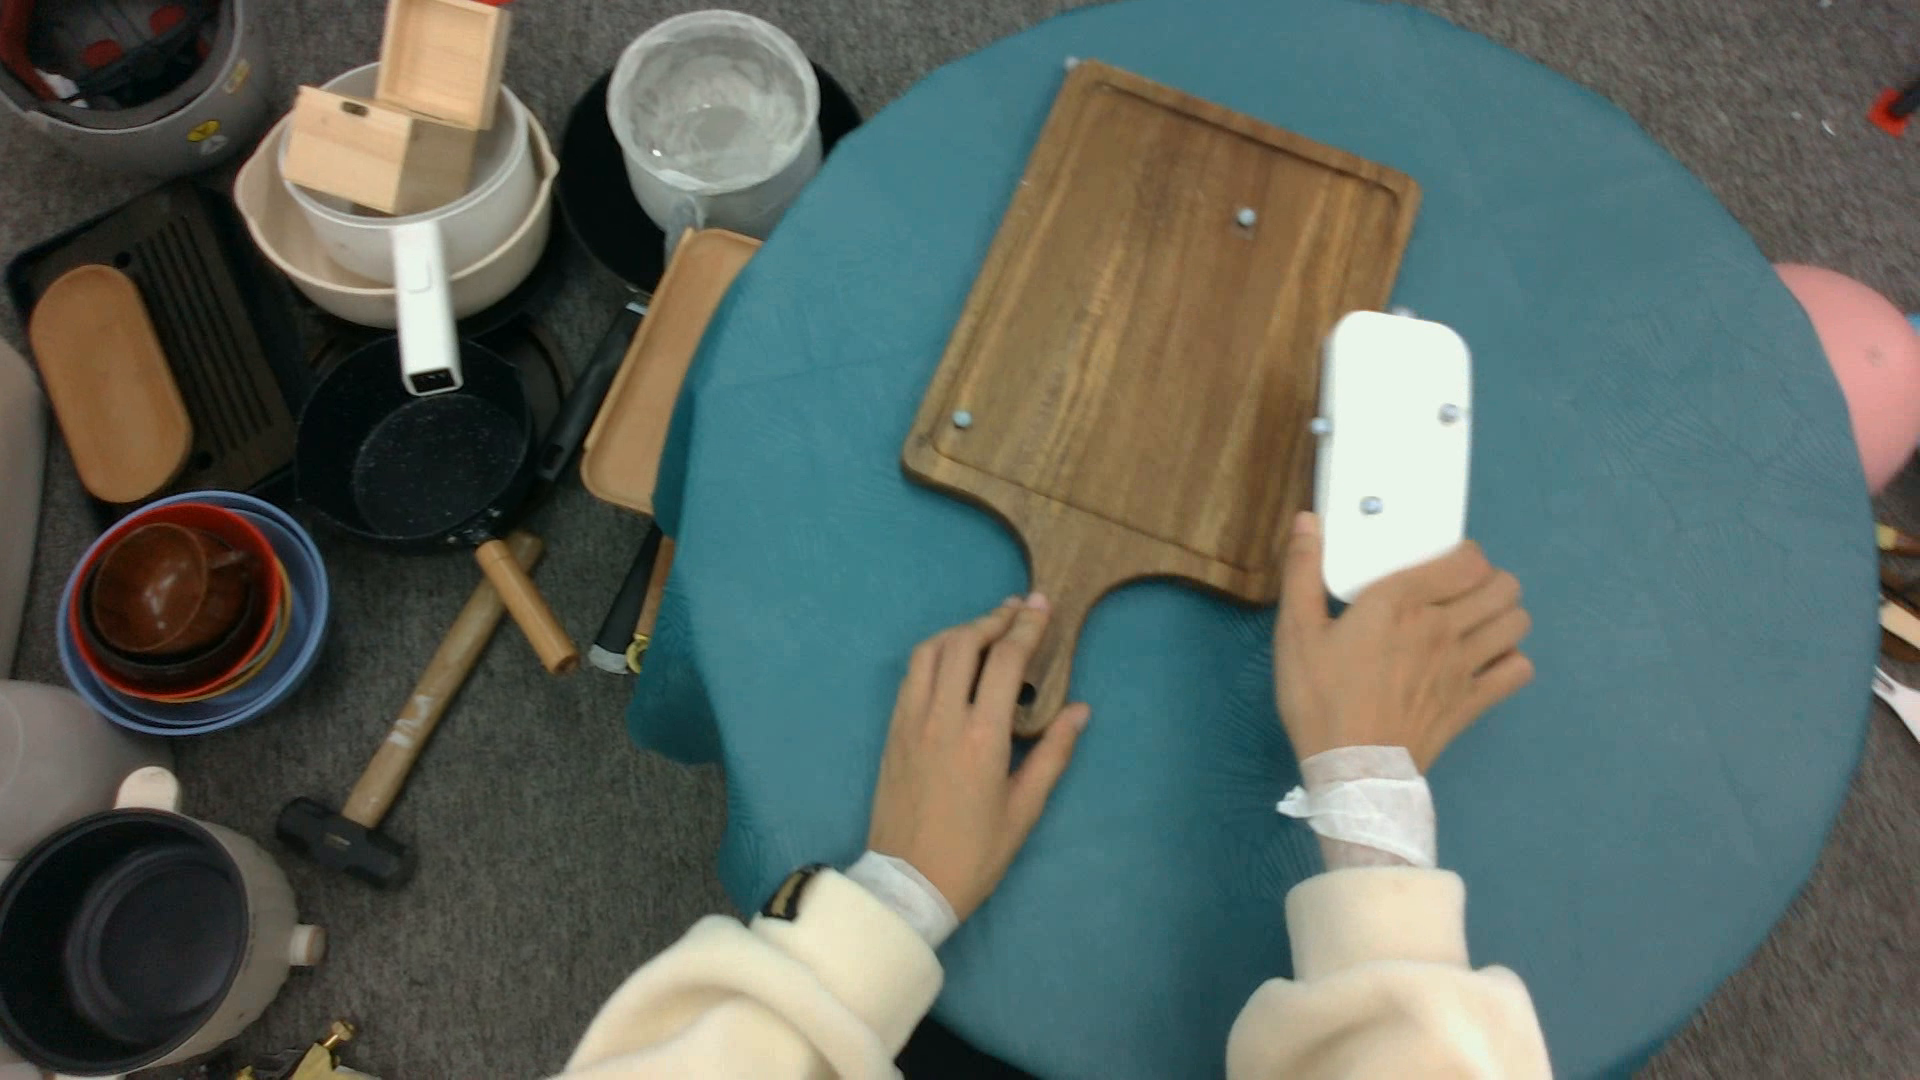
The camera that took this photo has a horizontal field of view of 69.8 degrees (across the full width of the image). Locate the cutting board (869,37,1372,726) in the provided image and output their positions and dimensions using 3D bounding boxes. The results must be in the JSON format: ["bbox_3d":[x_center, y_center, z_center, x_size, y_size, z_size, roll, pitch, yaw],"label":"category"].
[{"bbox_3d":[0.071,-0.077,0.678,0.201,0.023,0.353,20,73,1],"label":"cutting board"}]

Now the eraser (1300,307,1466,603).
[{"bbox_3d":[0.190,-0.038,0.622,0.063,0.034,0.131,11,81,-9],"label":"eraser"}]
